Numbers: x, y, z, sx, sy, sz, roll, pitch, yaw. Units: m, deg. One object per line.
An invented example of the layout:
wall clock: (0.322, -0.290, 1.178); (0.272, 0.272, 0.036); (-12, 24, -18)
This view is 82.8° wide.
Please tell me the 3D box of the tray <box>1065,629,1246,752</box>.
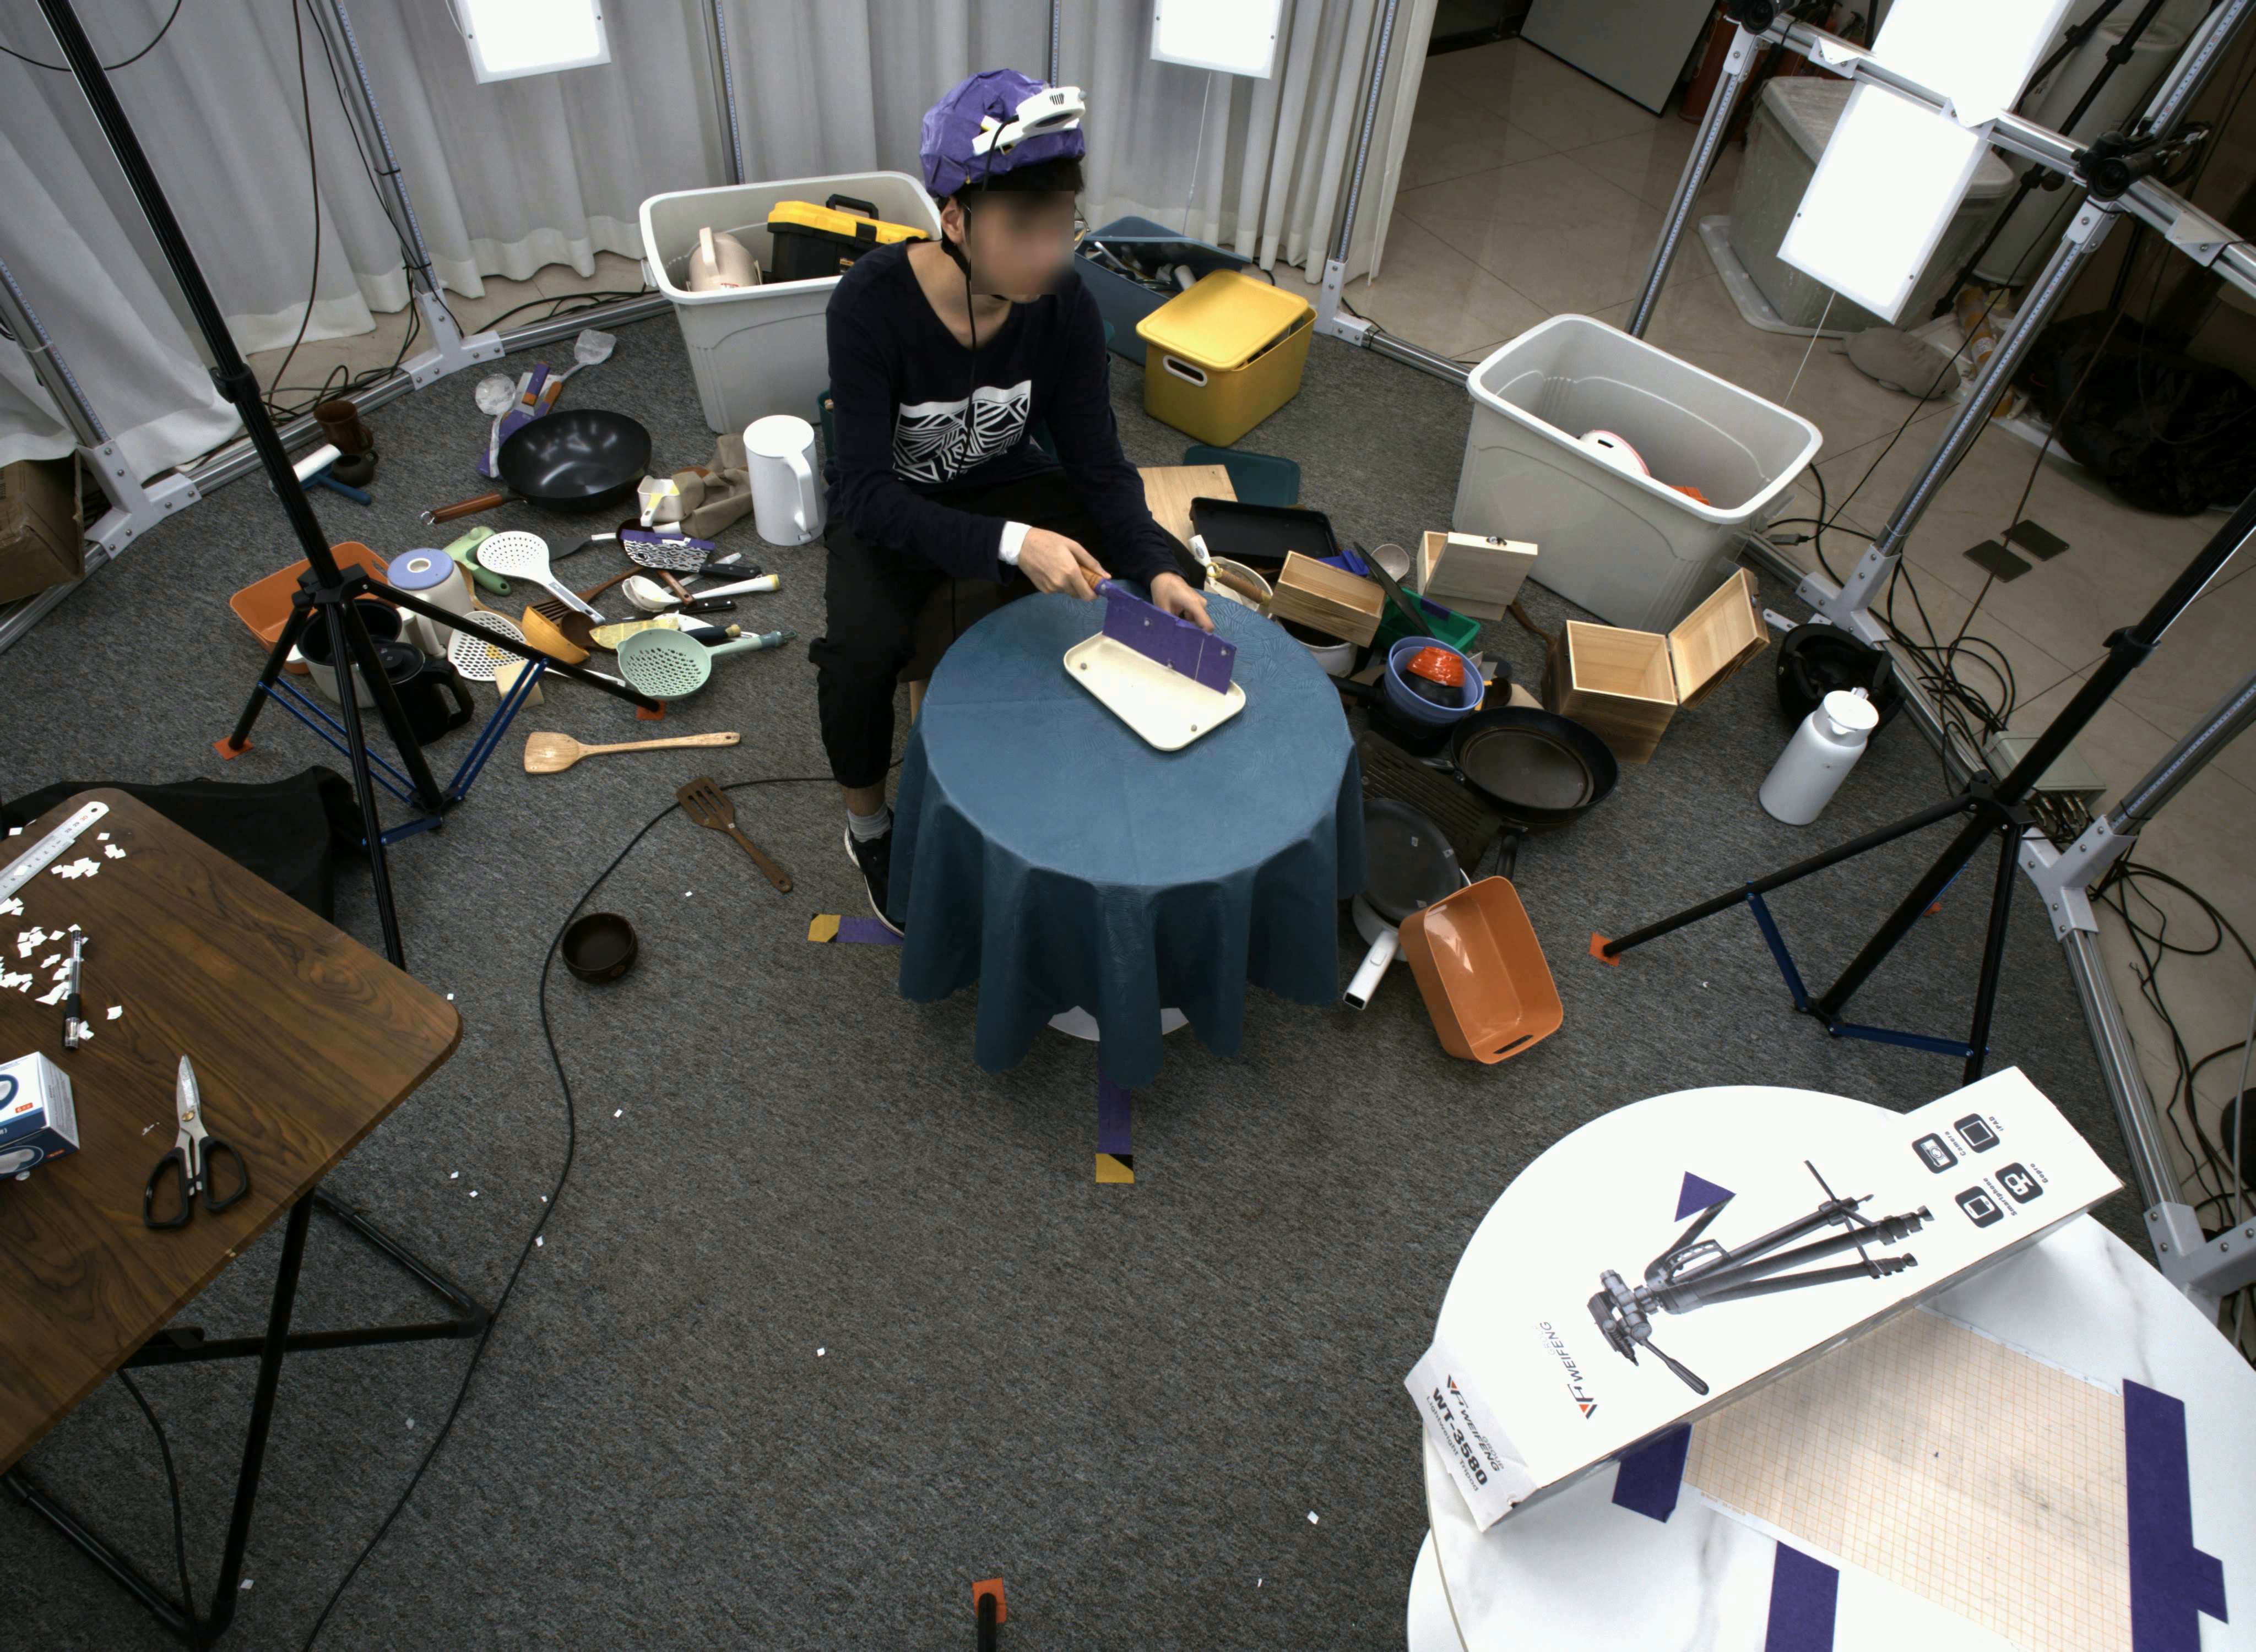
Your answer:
tray: (0.037, -0.206, 1.835); (0.172, 0.017, 0.244); (-33, 59, -25)

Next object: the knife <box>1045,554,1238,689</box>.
knife: (0.013, -0.288, 1.840); (0.318, 0.101, 0.032); (30, 46, 18)
